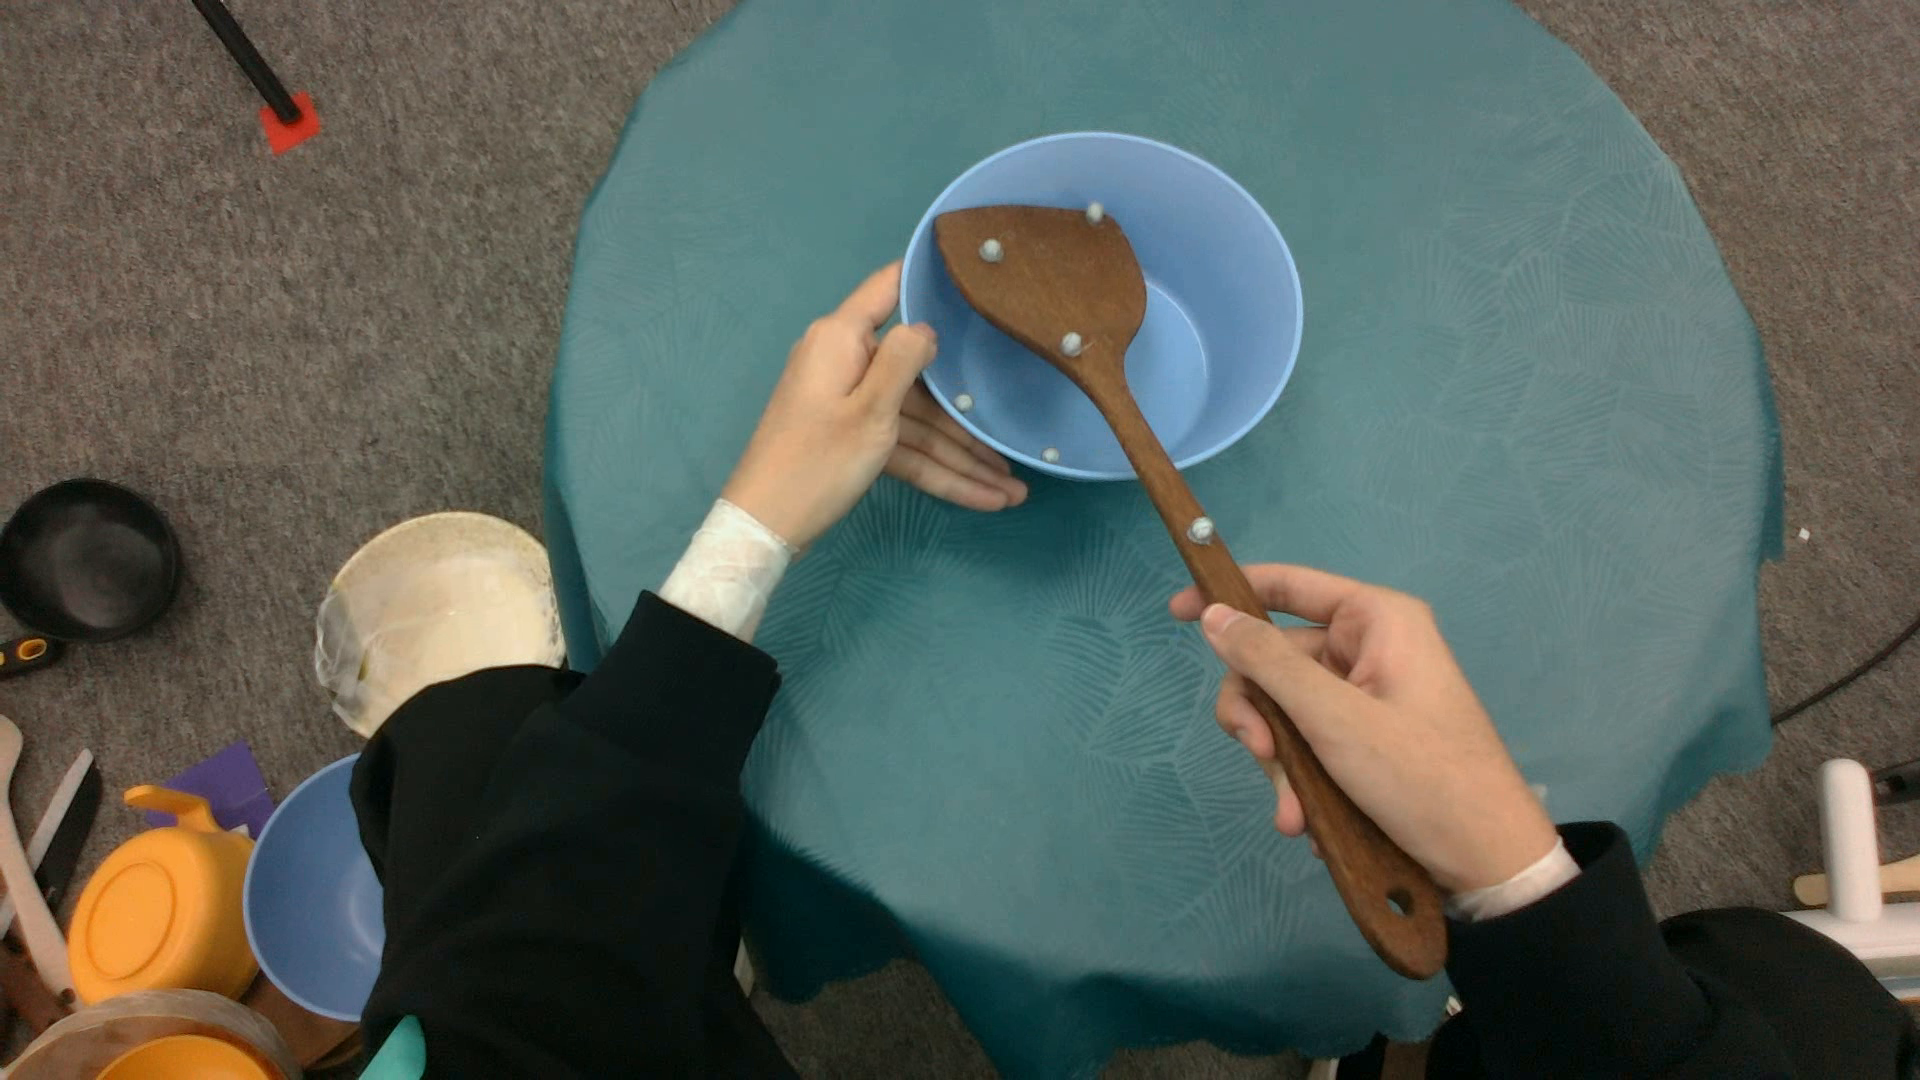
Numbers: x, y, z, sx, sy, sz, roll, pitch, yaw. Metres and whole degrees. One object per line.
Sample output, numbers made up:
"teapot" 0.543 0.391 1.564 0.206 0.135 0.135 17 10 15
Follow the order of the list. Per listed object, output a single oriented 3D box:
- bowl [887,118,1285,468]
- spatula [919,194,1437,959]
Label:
"bowl" 0.055 -0.101 0.633 0.176 0.070 0.176 1 68 -1
"spatula" 0.078 -0.019 0.529 0.096 0.015 0.387 -5 49 -22
